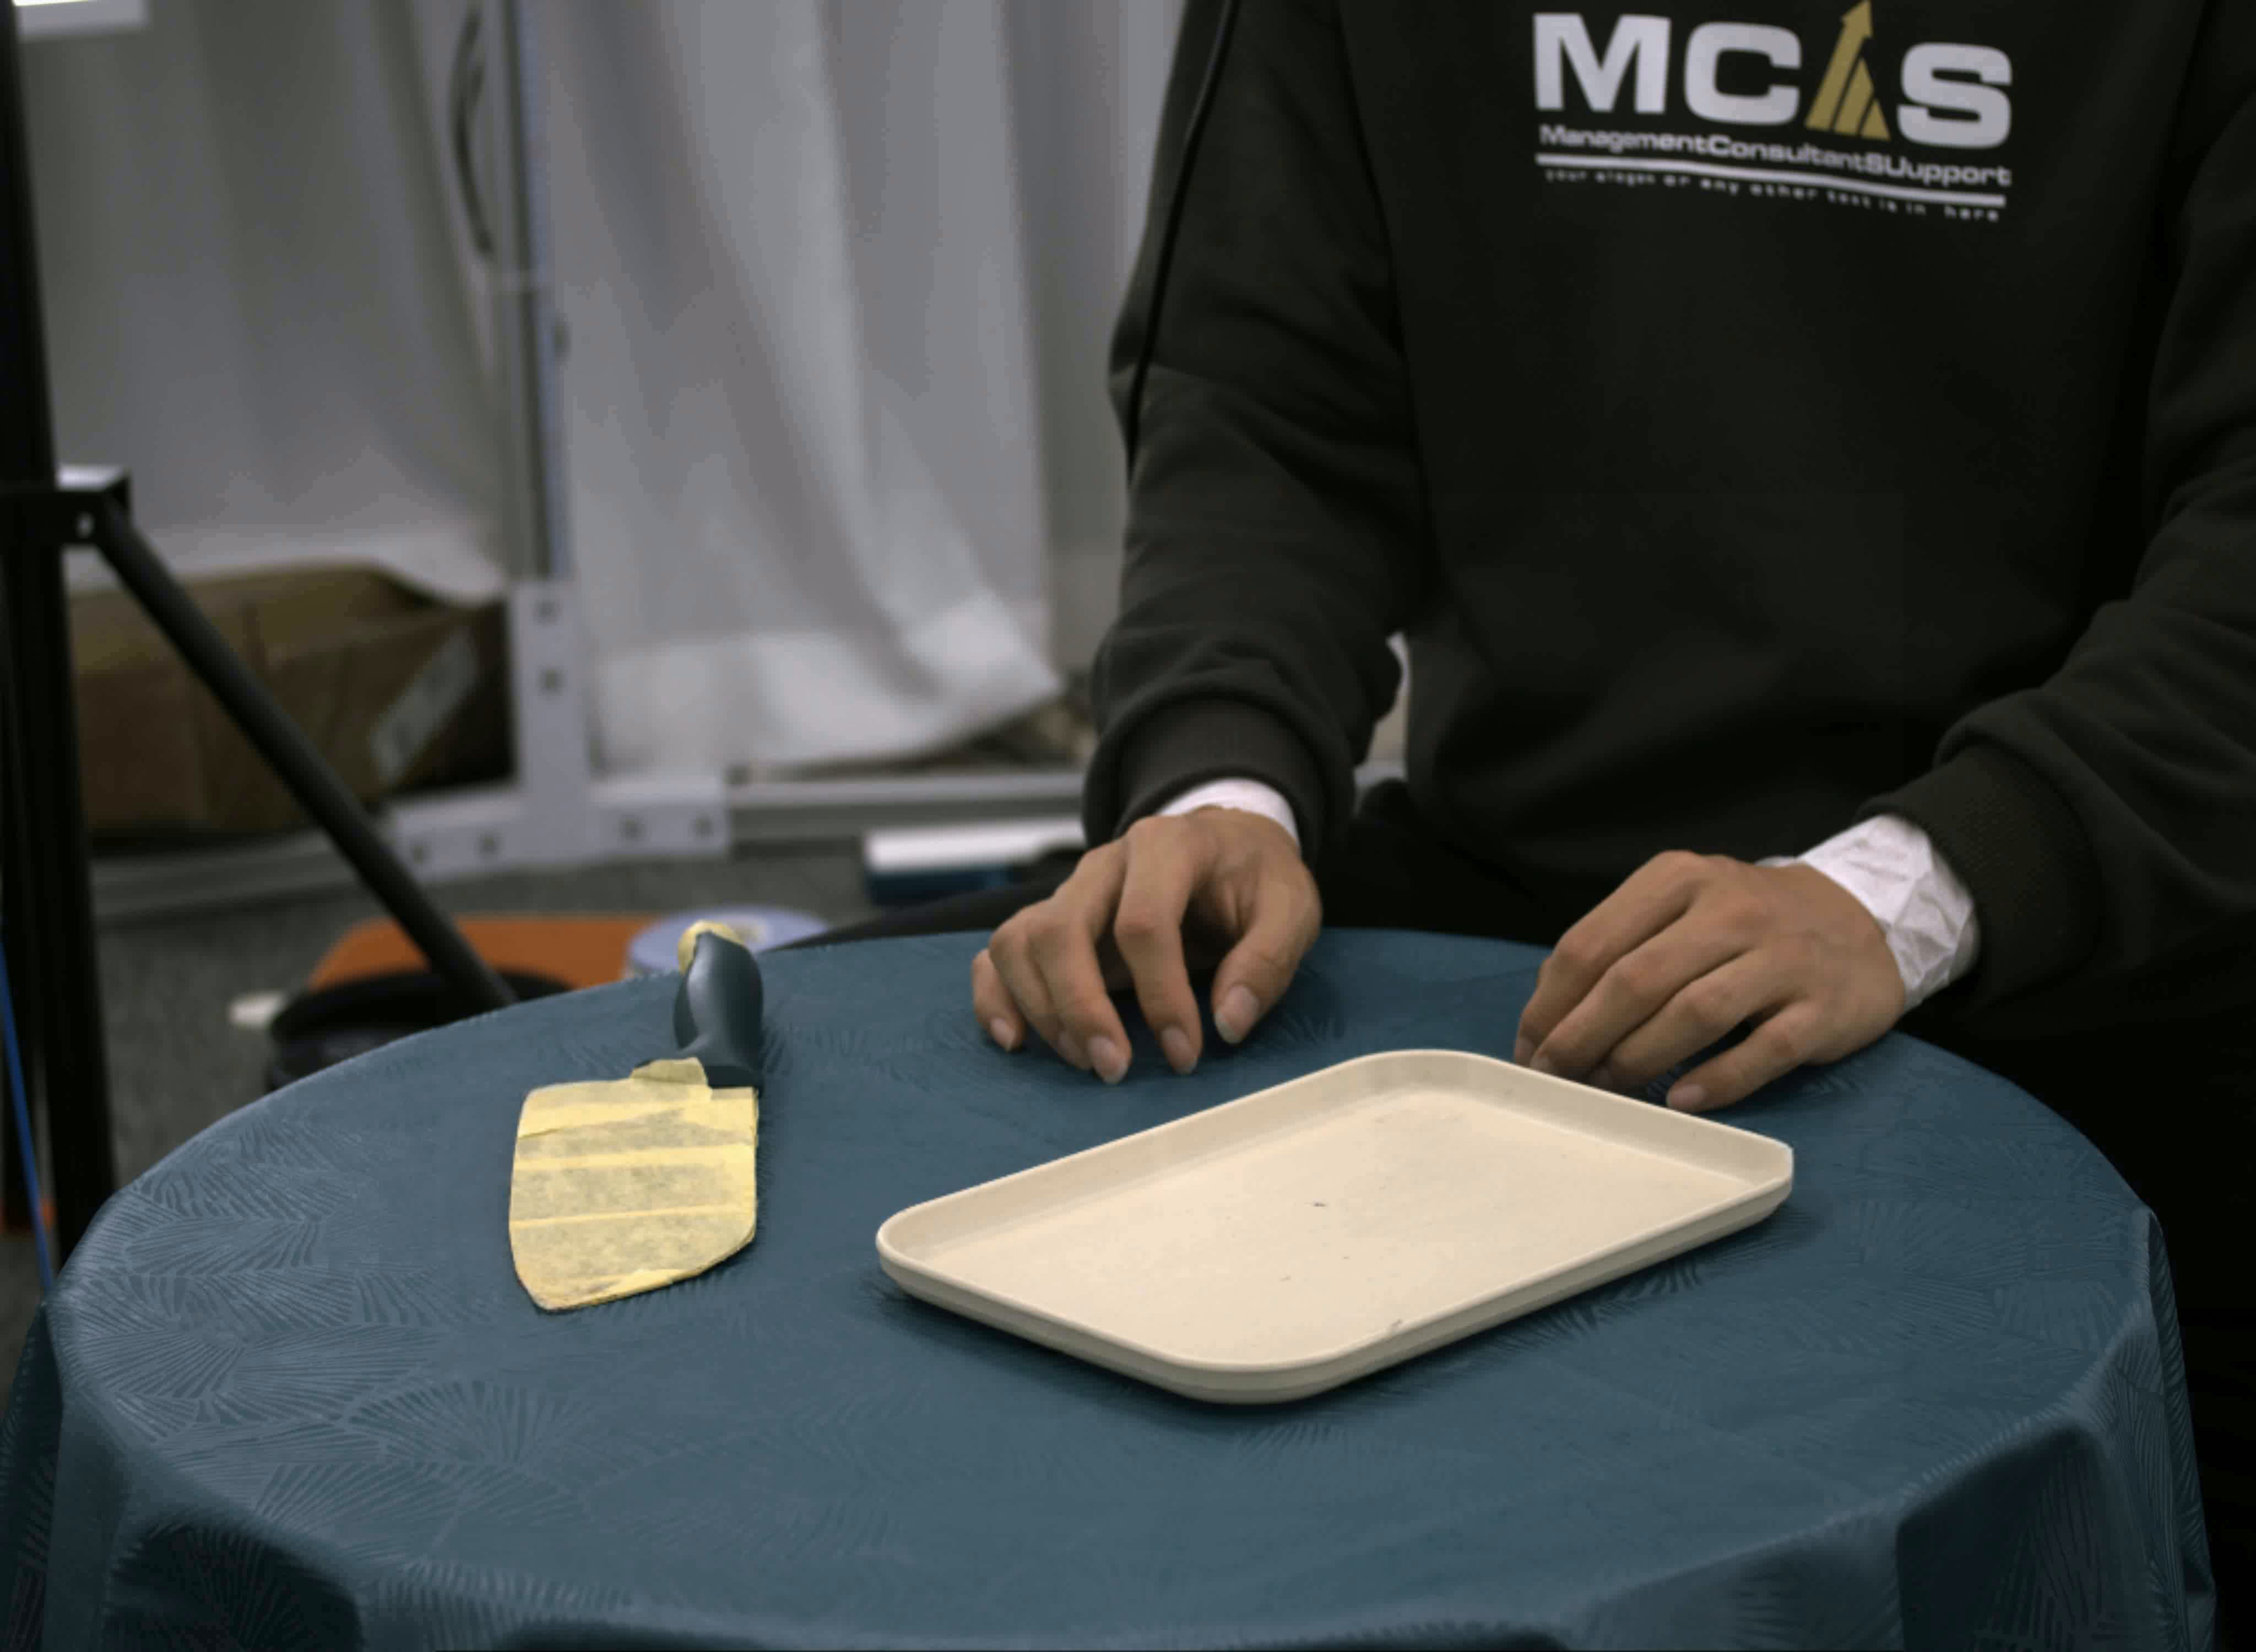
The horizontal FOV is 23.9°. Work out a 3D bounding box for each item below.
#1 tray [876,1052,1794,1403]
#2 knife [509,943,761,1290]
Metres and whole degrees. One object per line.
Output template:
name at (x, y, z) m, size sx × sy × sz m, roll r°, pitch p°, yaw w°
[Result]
tray at (0.061, 0.112, 1.504) m, size 0.234 × 0.017 × 0.175 m, roll -16°, pitch 20°, yaw -39°
knife at (-0.148, 0.088, 1.628) m, size 0.080 × 0.027 × 0.291 m, roll -1°, pitch 17°, yaw 0°
